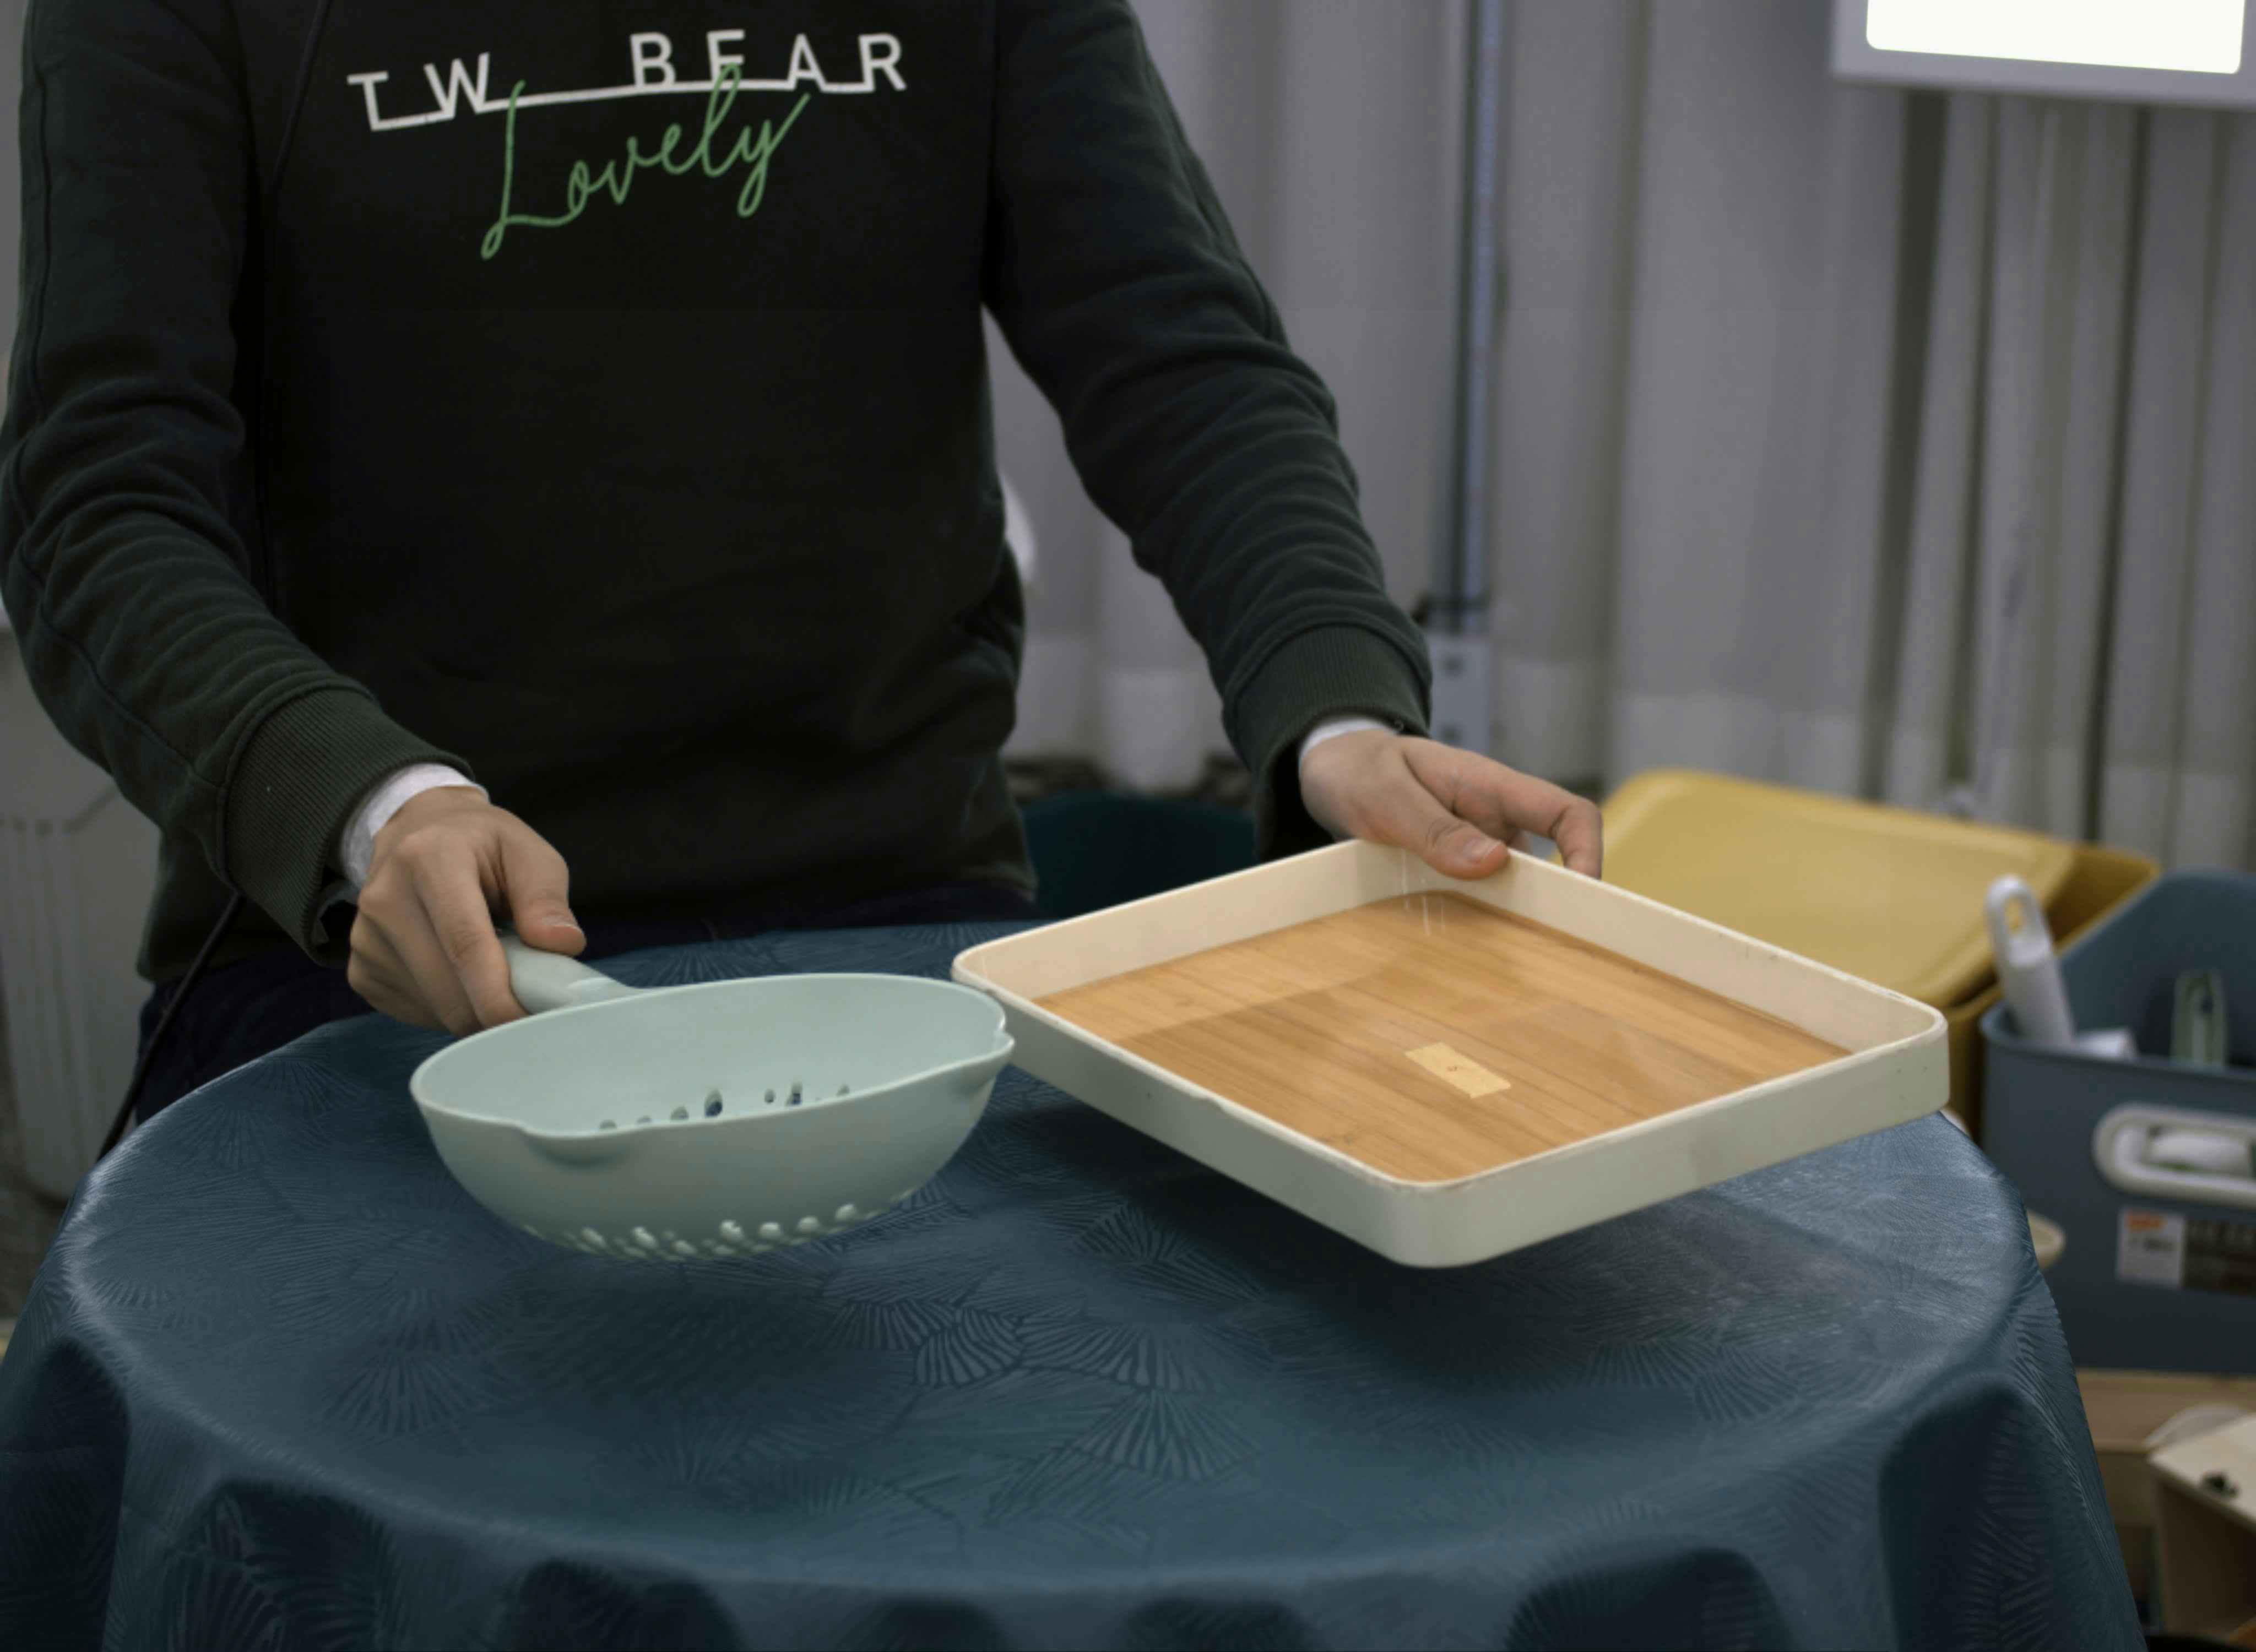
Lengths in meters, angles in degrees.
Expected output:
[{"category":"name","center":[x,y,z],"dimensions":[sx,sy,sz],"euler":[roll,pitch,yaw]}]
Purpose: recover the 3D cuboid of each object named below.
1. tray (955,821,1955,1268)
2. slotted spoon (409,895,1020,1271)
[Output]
[{"category":"tray","center":[0.093,0.061,1.604],"dimensions":[0.192,0.027,0.296],"euler":[-15,19,-26]},{"category":"slotted spoon","center":[-0.155,0.059,1.569],"dimensions":[0.170,0.076,0.354],"euler":[-9,21,-22]}]
